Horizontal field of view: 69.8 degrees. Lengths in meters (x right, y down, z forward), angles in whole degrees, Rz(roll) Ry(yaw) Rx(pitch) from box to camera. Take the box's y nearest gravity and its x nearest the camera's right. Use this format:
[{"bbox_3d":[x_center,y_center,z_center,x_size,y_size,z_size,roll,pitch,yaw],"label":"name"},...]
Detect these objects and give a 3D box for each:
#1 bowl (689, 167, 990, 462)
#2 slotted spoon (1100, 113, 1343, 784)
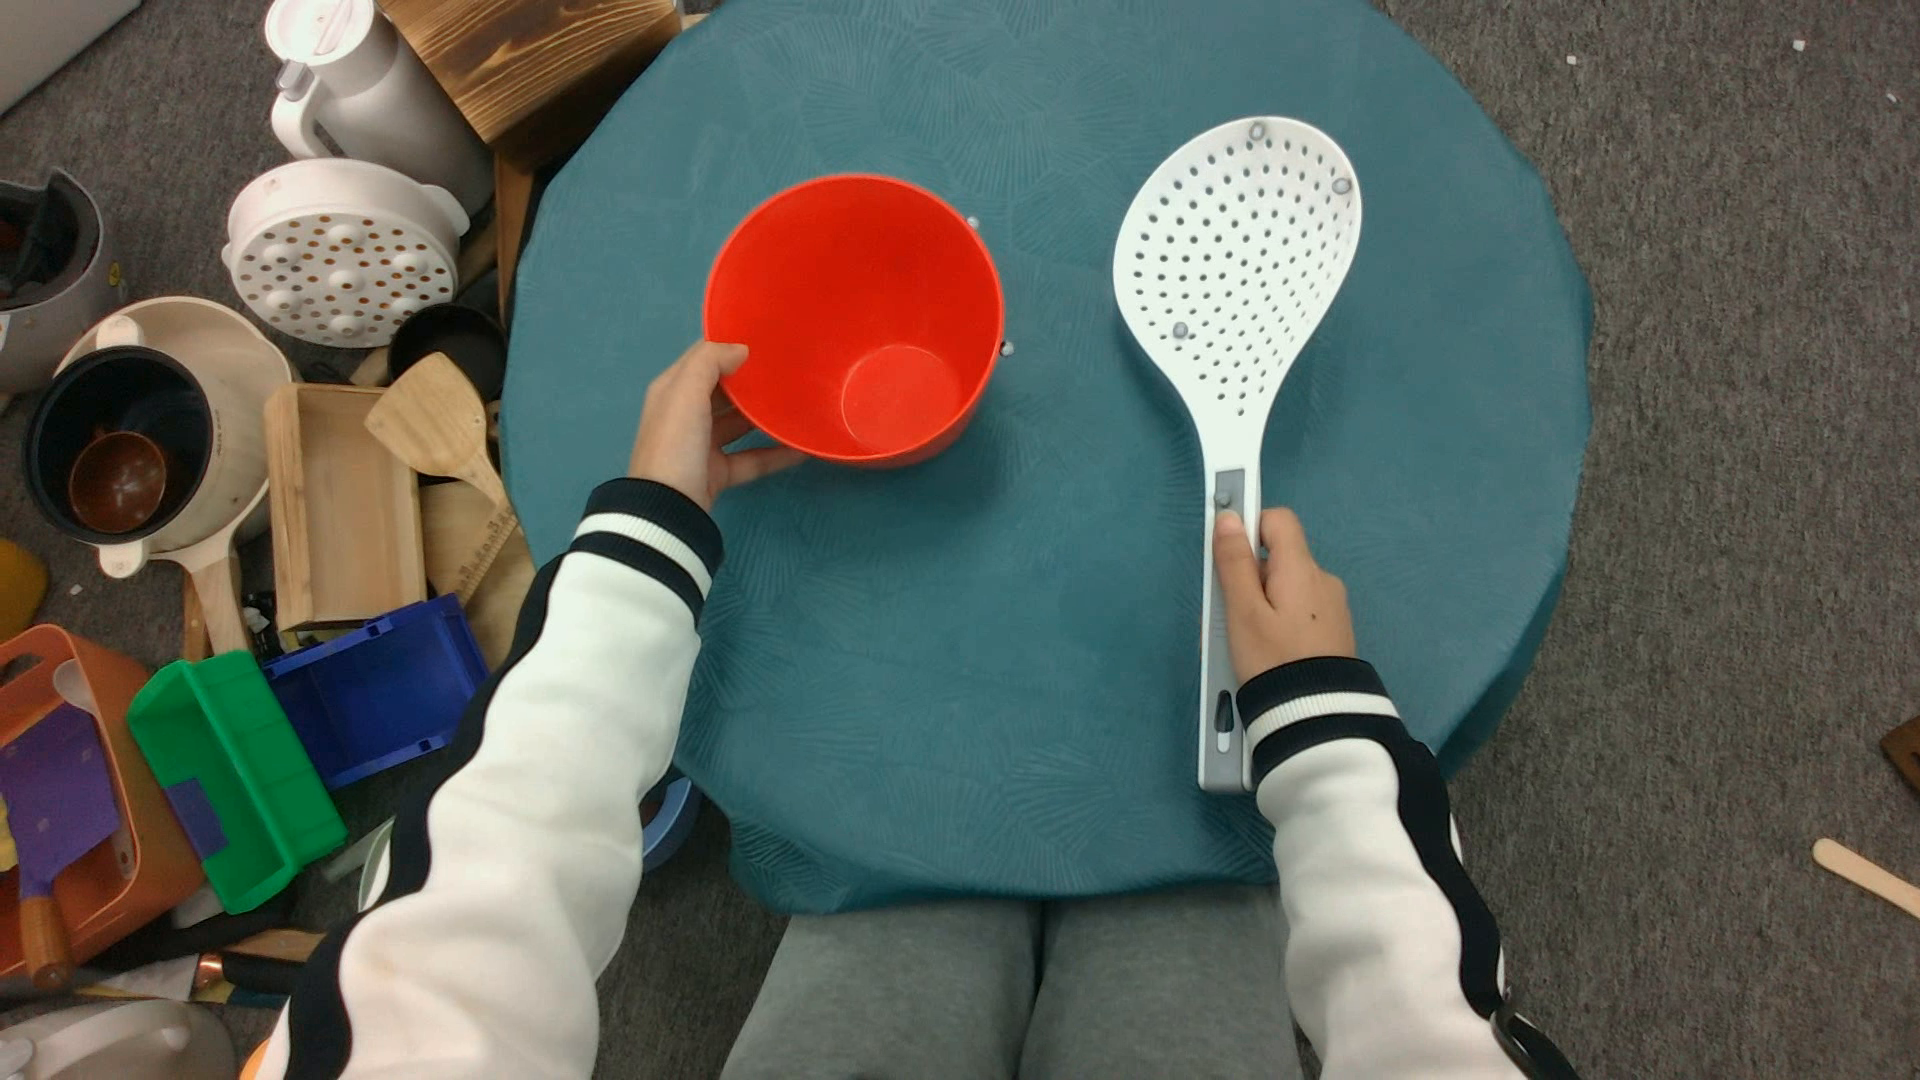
[{"bbox_3d":[-0.055,-0.103,0.715,0.148,0.104,0.148,-2,70,5],"label":"bowl"},{"bbox_3d":[0.131,-0.054,0.696,0.135,0.046,0.351,-6,67,33],"label":"slotted spoon"}]
